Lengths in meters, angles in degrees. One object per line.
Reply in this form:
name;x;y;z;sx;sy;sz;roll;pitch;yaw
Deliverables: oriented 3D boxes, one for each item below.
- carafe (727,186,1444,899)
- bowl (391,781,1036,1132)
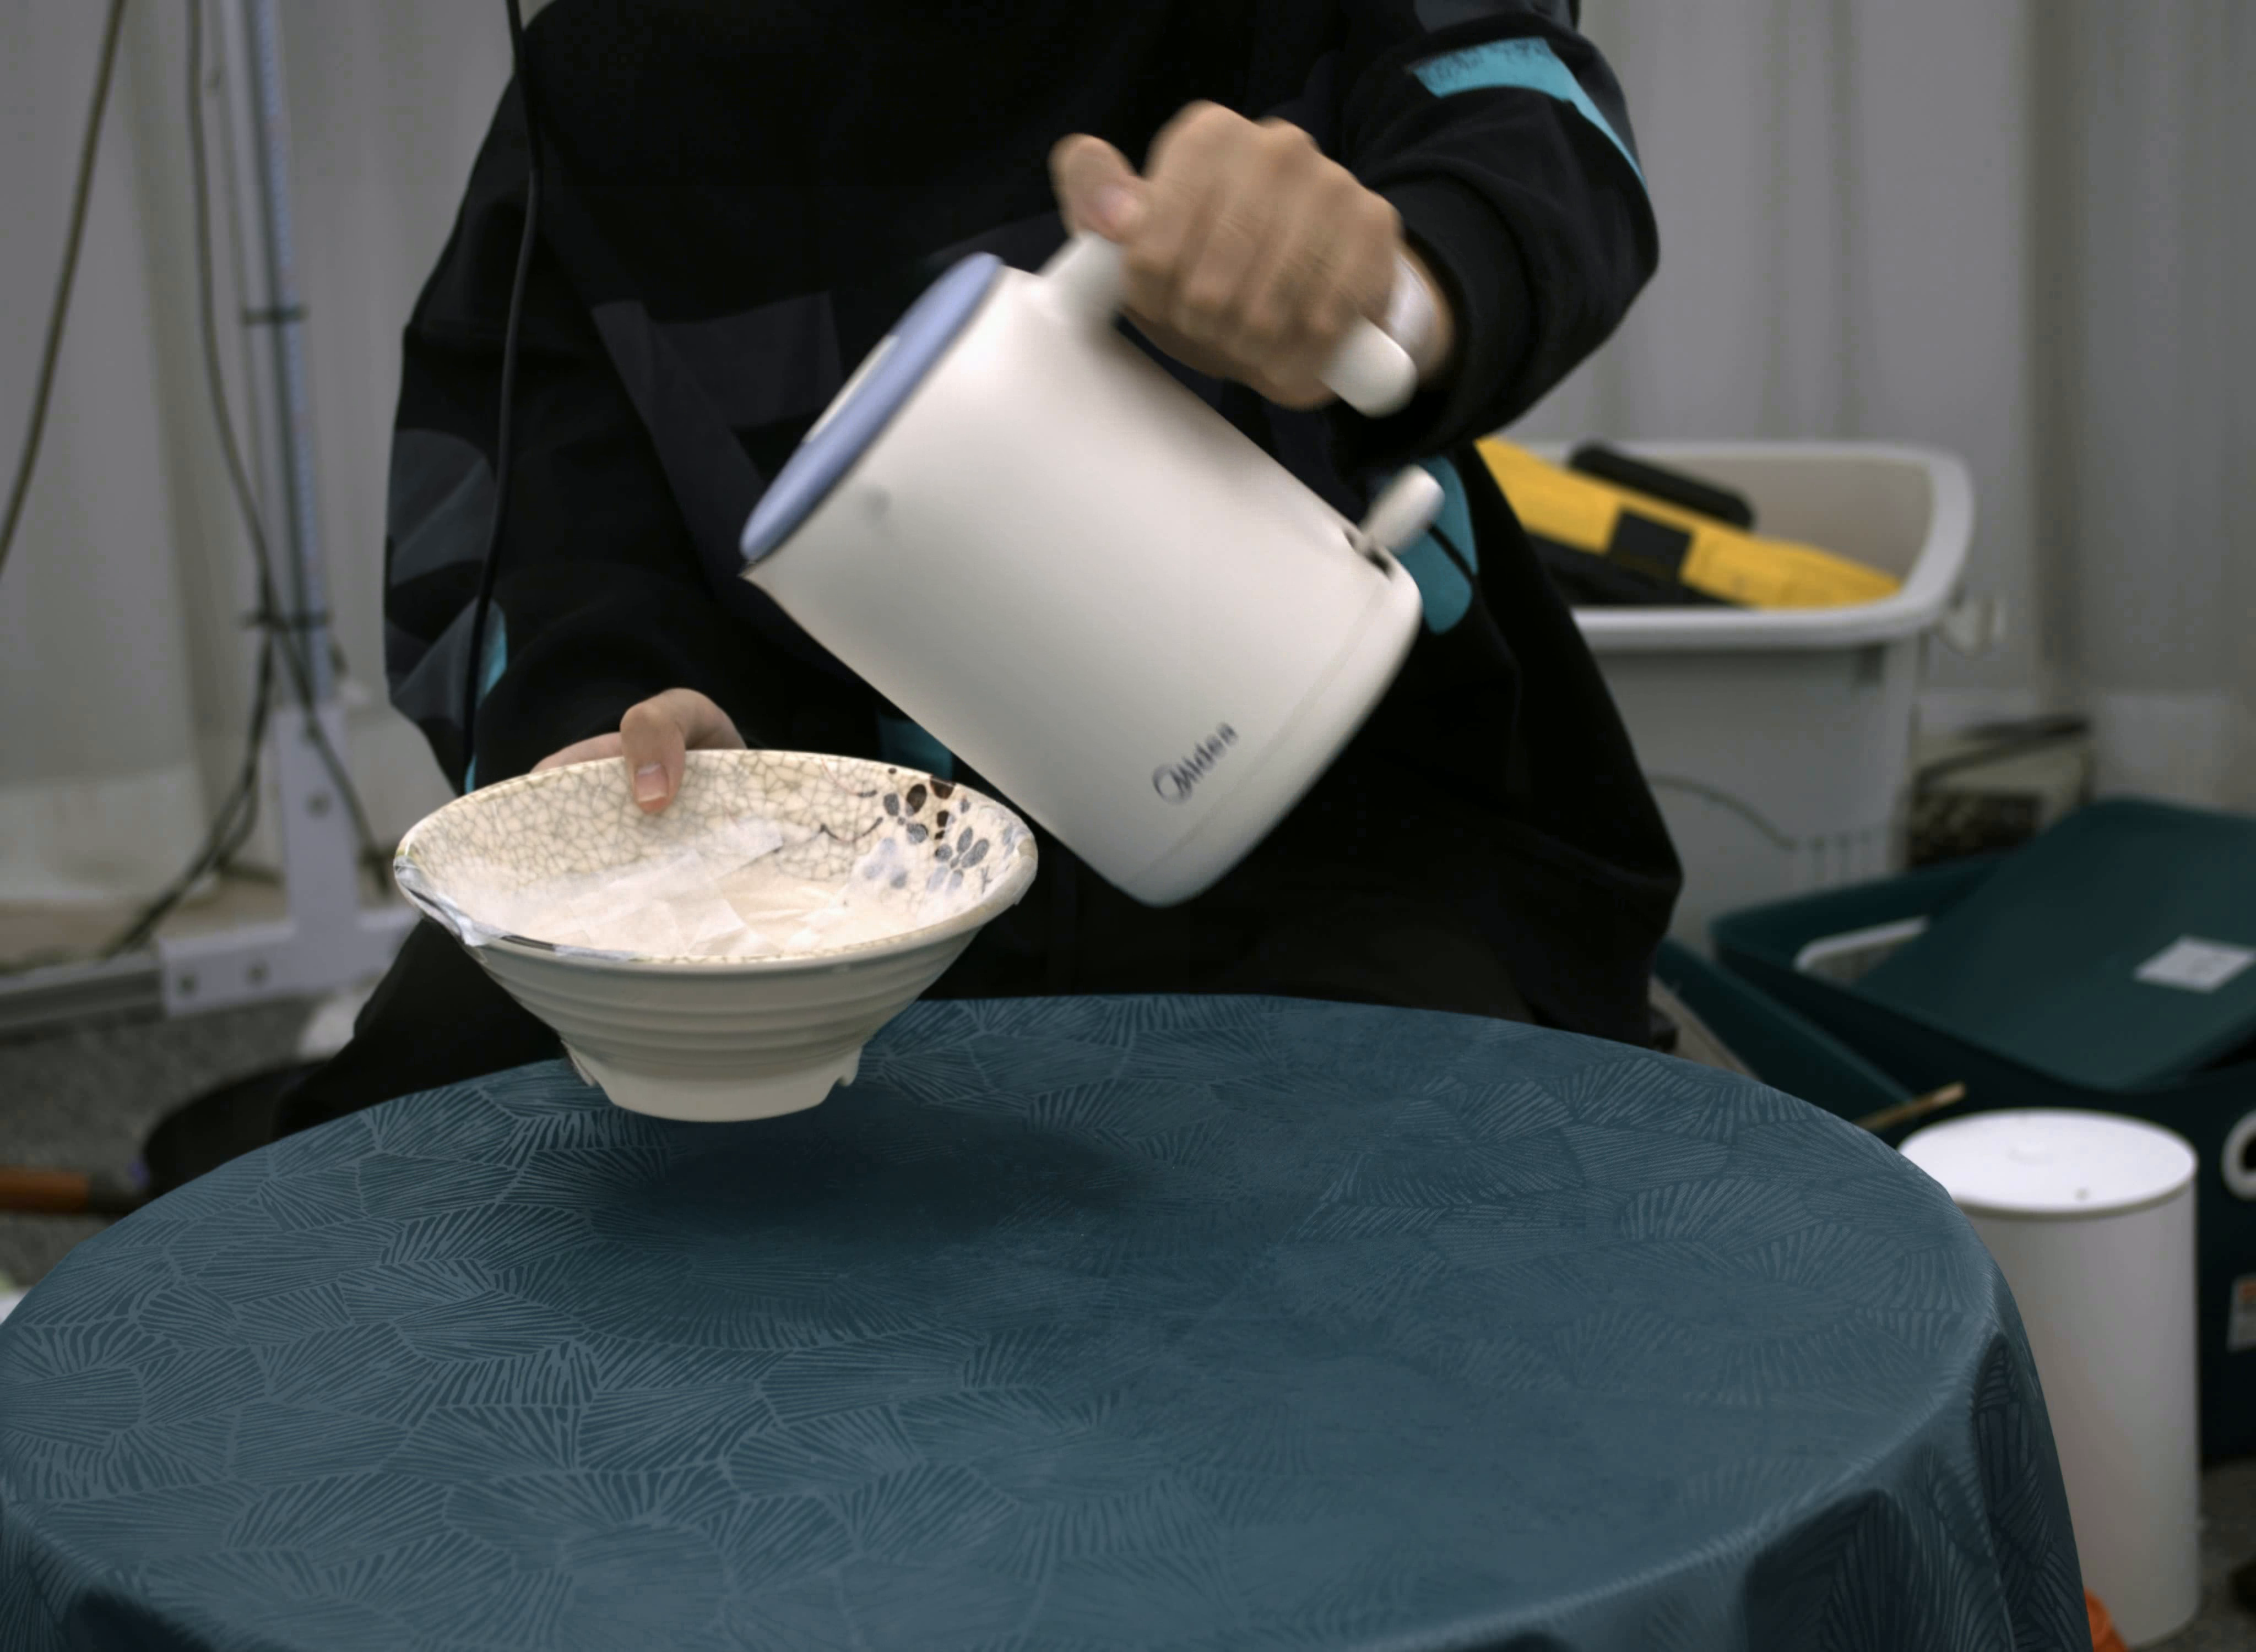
carafe;-0.002;-0.095;1.654;0.182;0.190;0.133;40;18;-9
bowl;-0.131;0.047;1.734;0.203;0.077;0.205;2;14;-1
